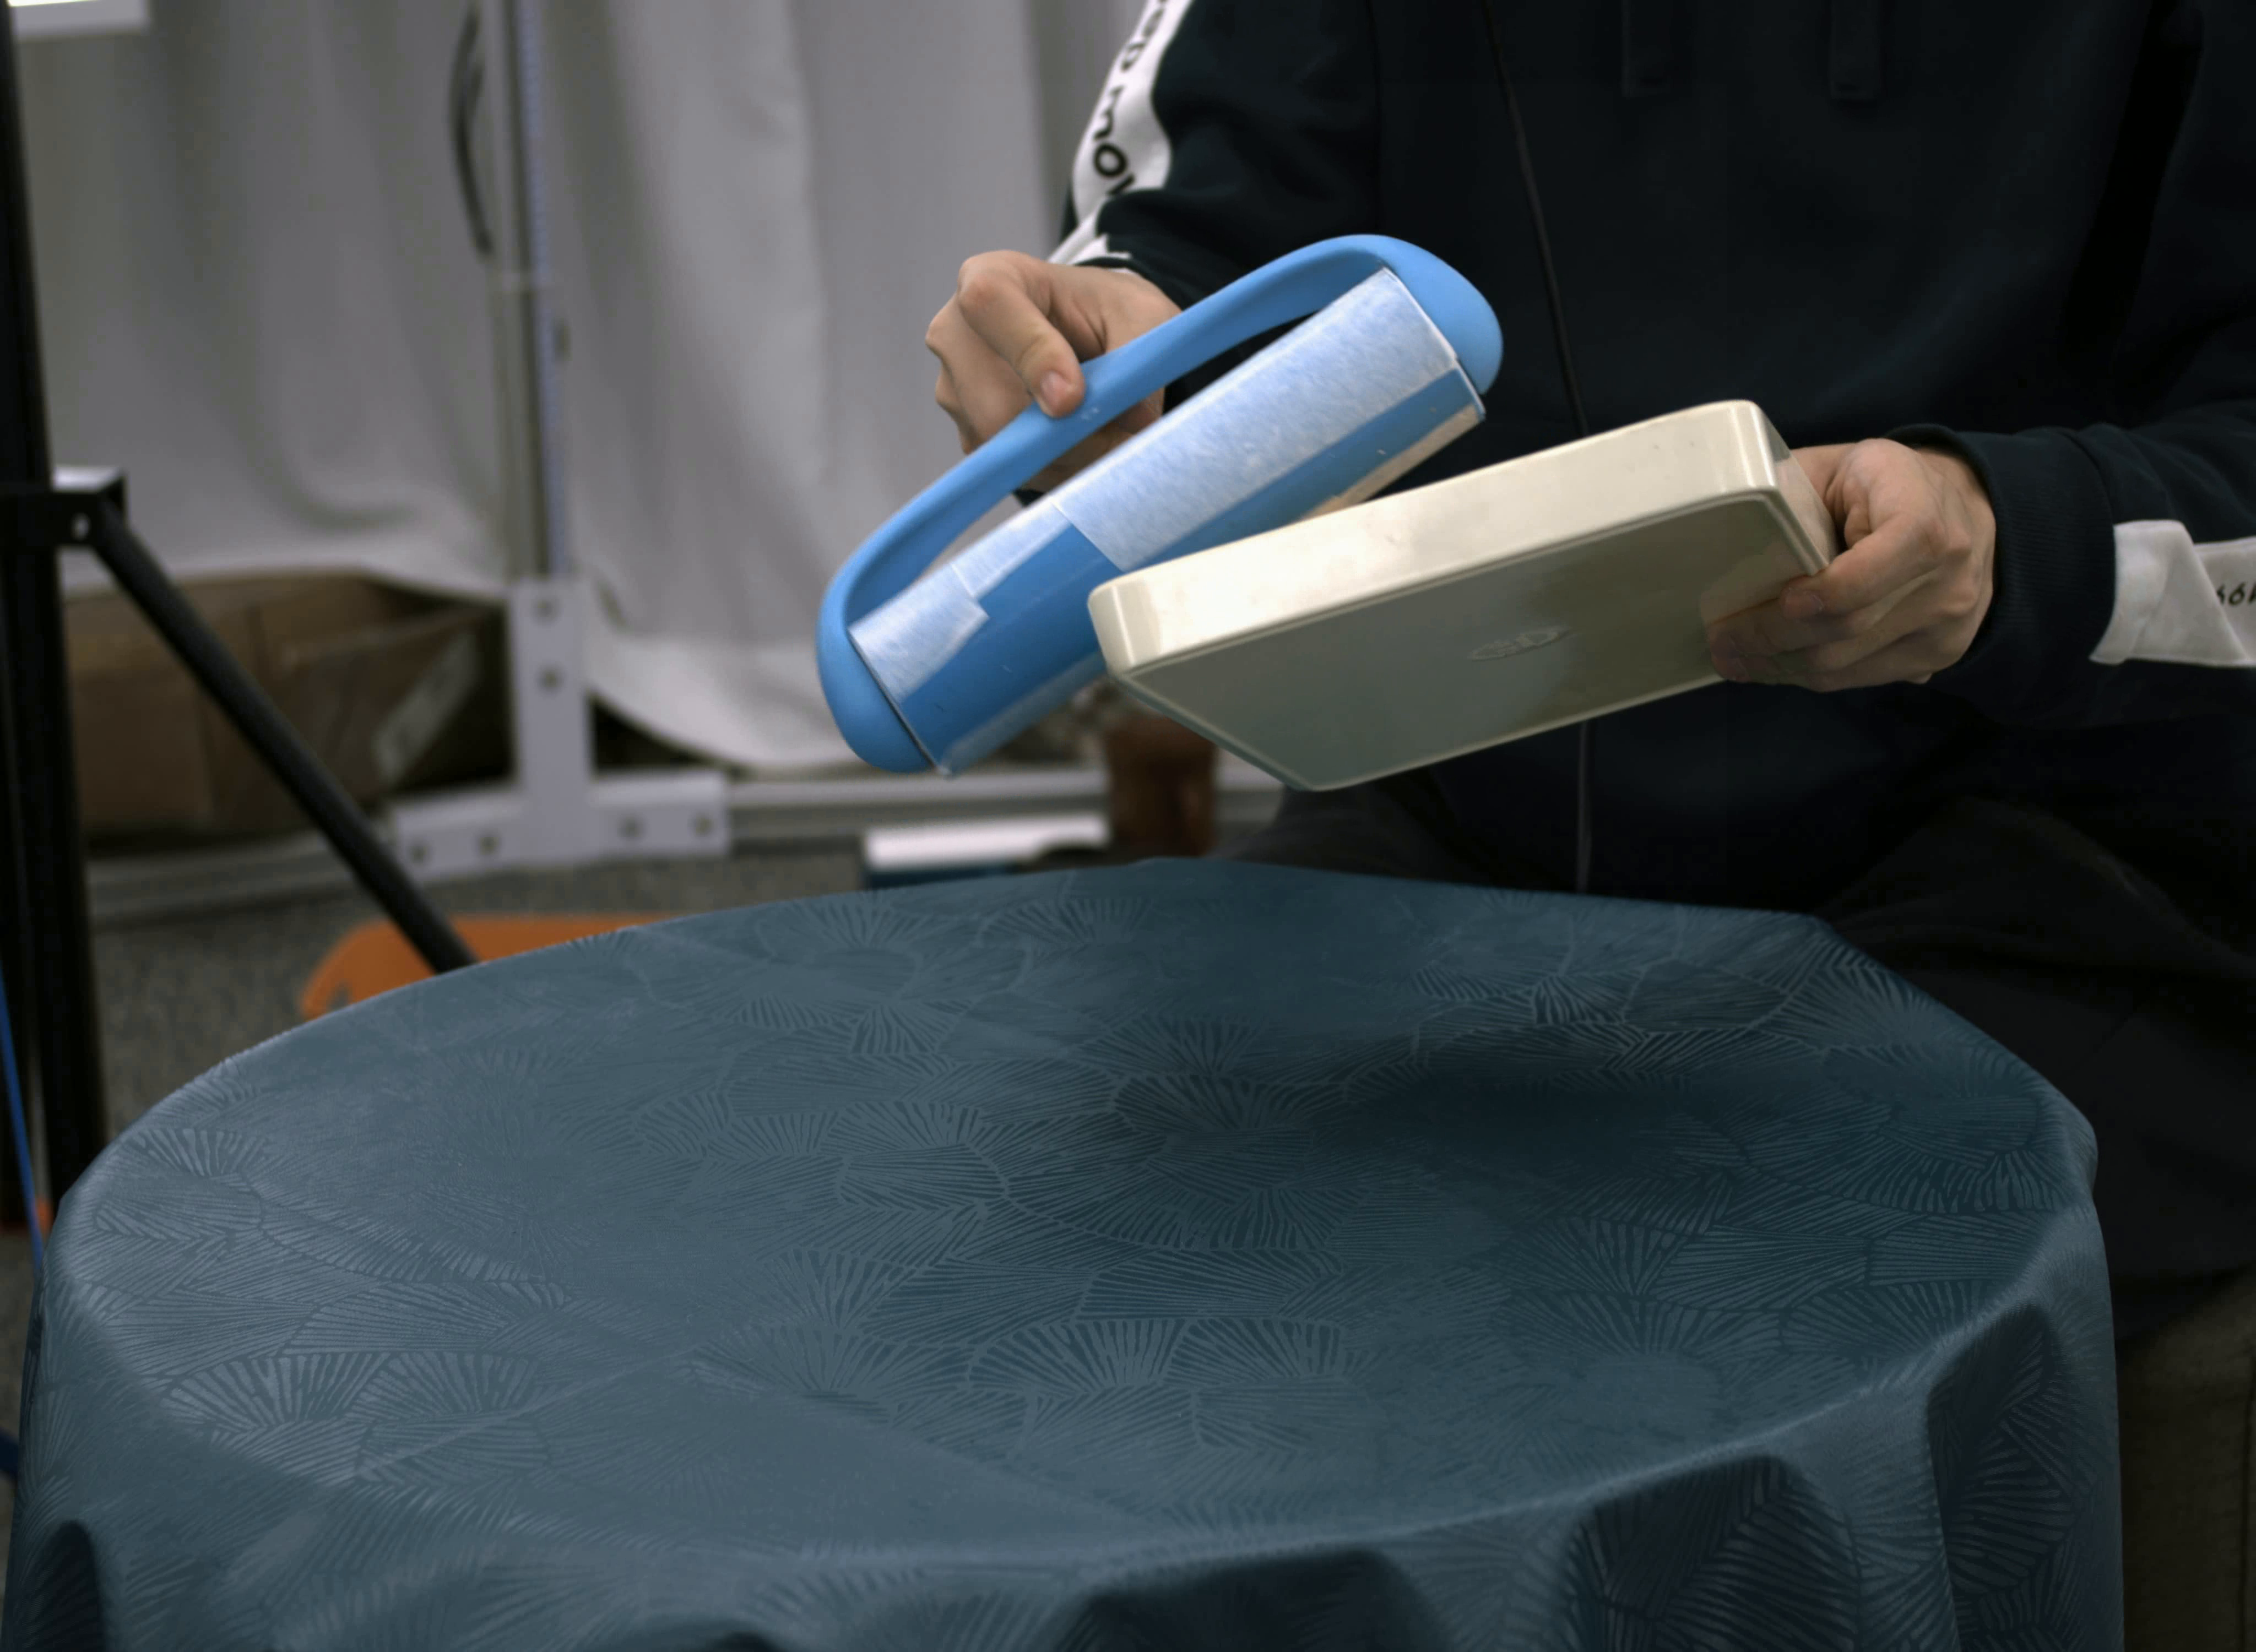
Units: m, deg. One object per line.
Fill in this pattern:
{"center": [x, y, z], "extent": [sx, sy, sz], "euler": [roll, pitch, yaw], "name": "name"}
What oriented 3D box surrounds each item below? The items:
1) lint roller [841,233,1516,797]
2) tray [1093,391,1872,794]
{"center": [0.000, -0.106, 1.621], "extent": [0.228, 0.067, 0.183], "euler": [-38, 25, -1], "name": "lint roller"}
{"center": [0.111, -0.061, 1.540], "extent": [0.192, 0.027, 0.296], "euler": [-16, -9, 12], "name": "tray"}
